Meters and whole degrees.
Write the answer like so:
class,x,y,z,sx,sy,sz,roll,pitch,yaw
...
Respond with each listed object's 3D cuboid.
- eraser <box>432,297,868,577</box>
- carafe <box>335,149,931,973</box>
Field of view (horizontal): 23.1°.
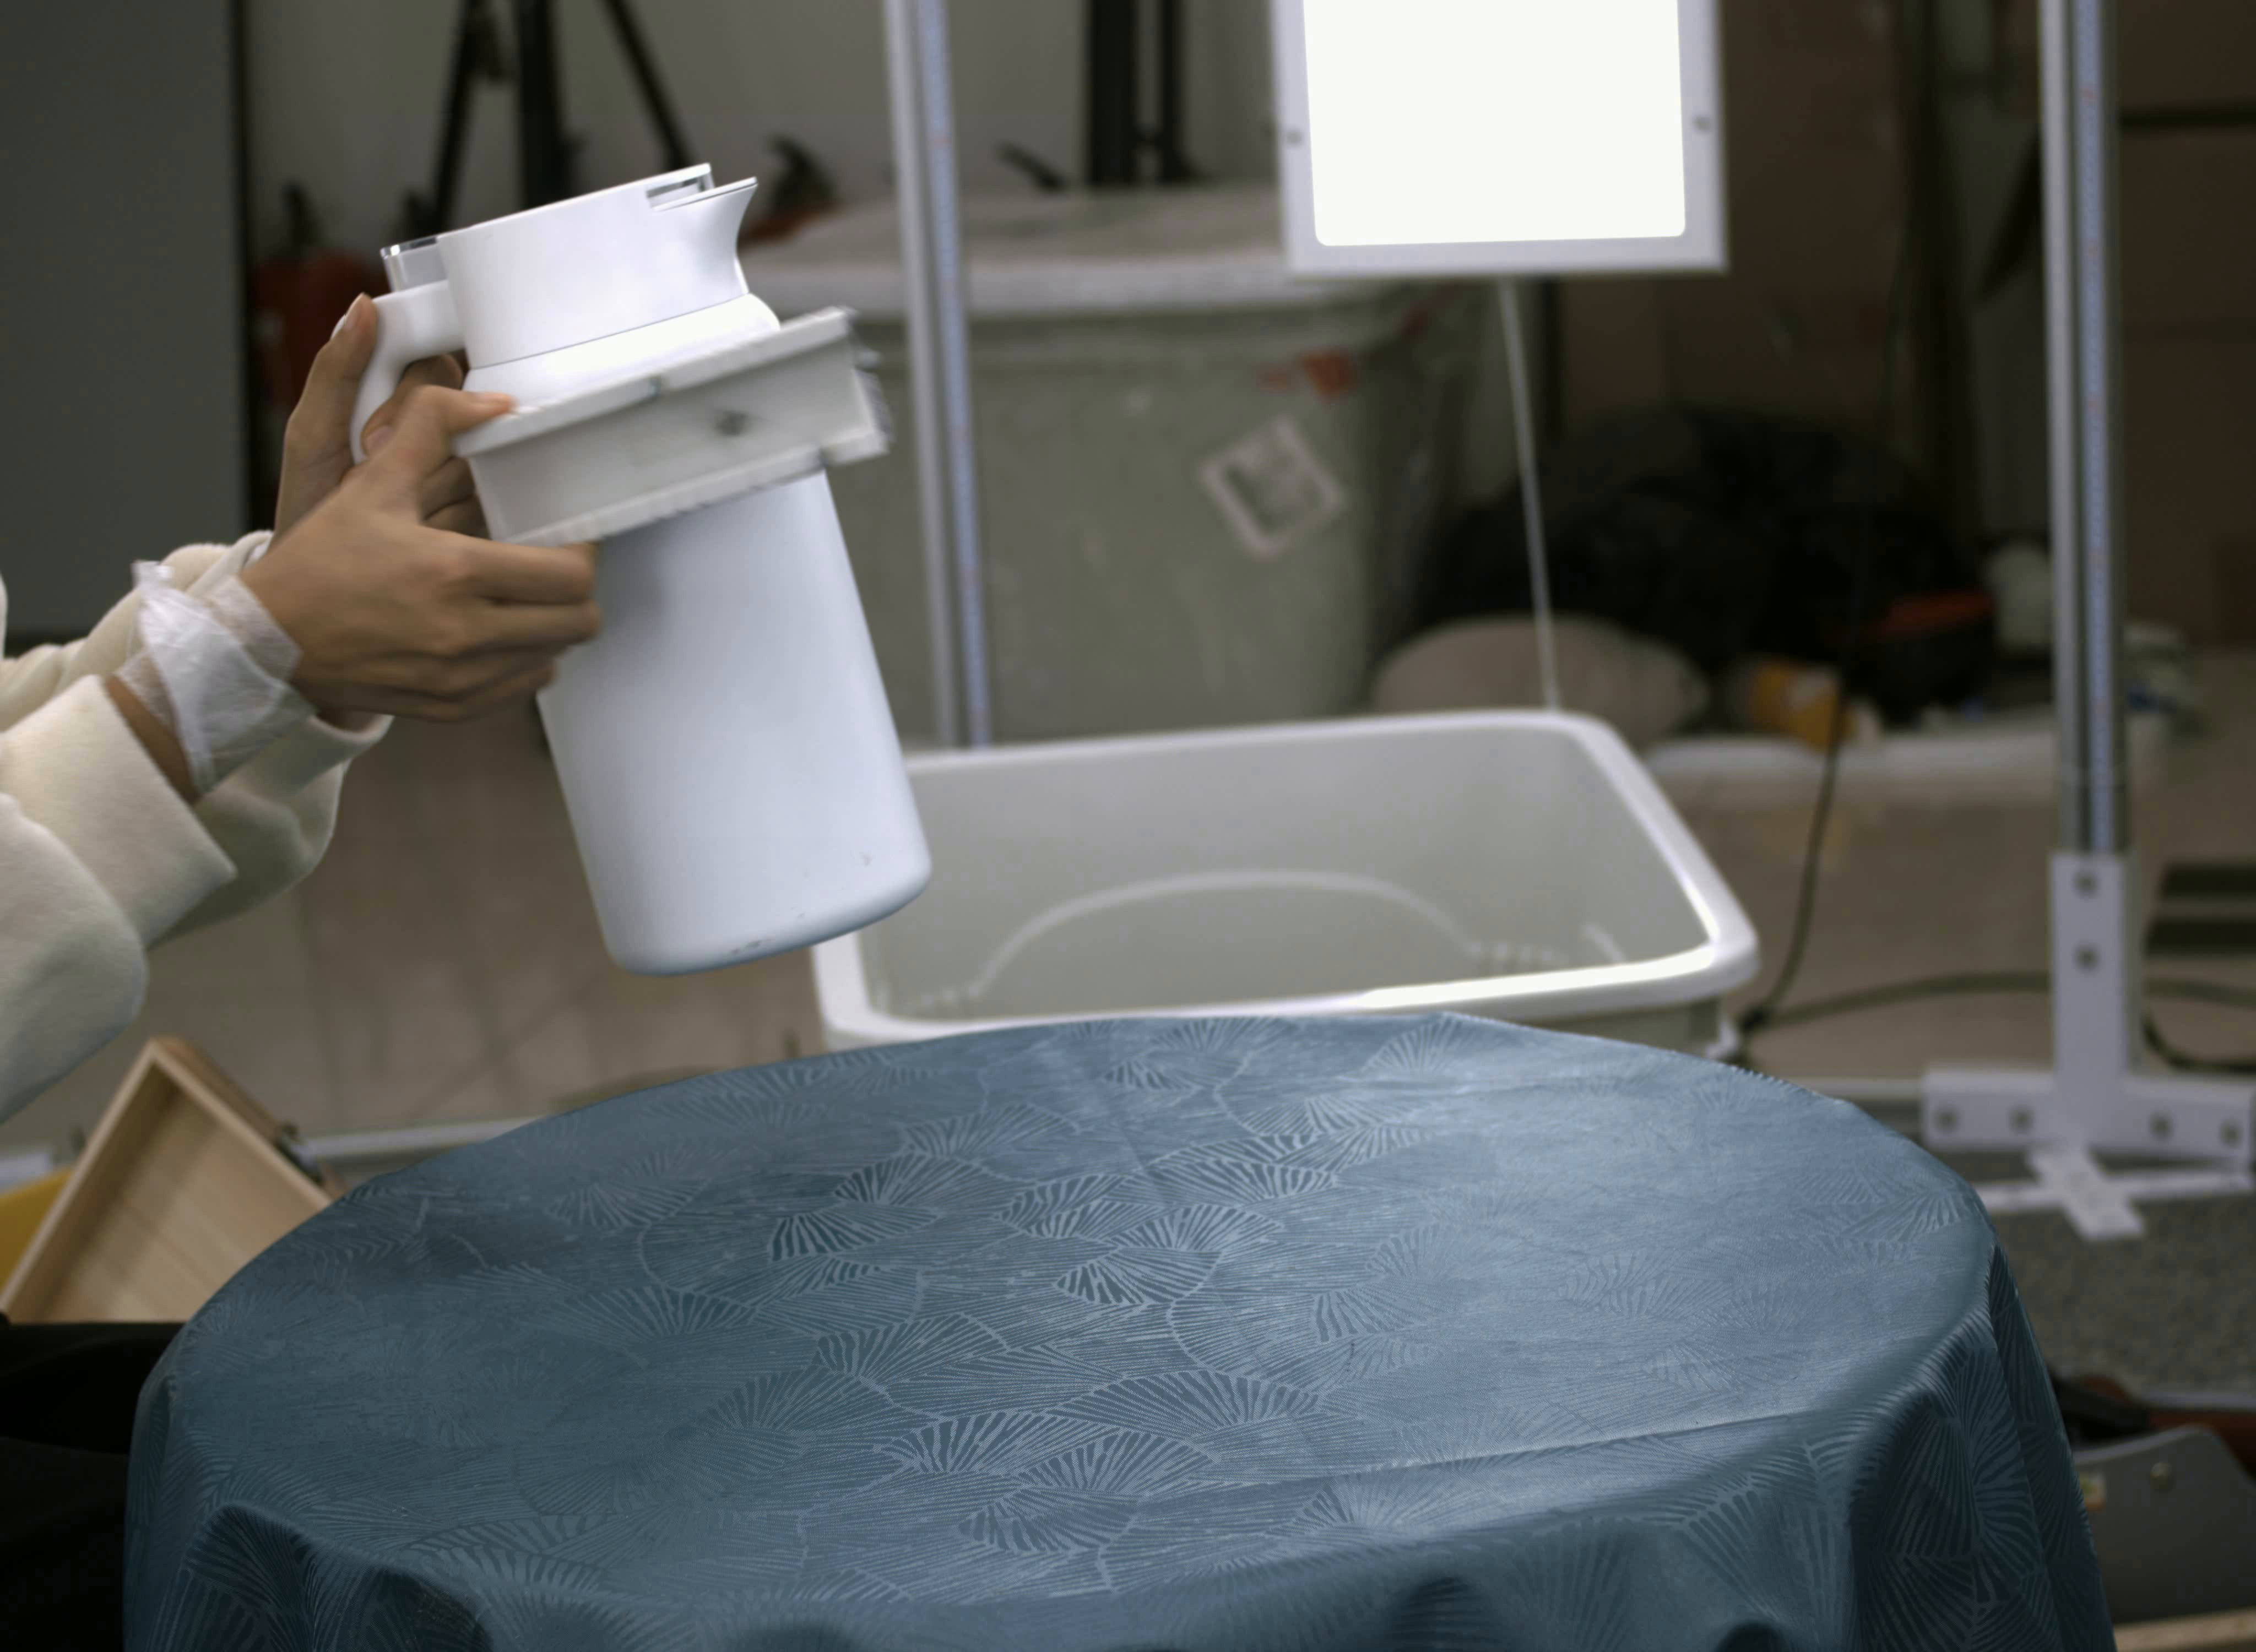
class,x,y,z,sx,sy,sz,roll,pitch,yaw
eraser,-0.156,-0.129,1.815,0.136,0.050,0.046,-19,9,17
carafe,-0.172,-0.087,1.914,0.175,0.269,0.121,-12,11,24
